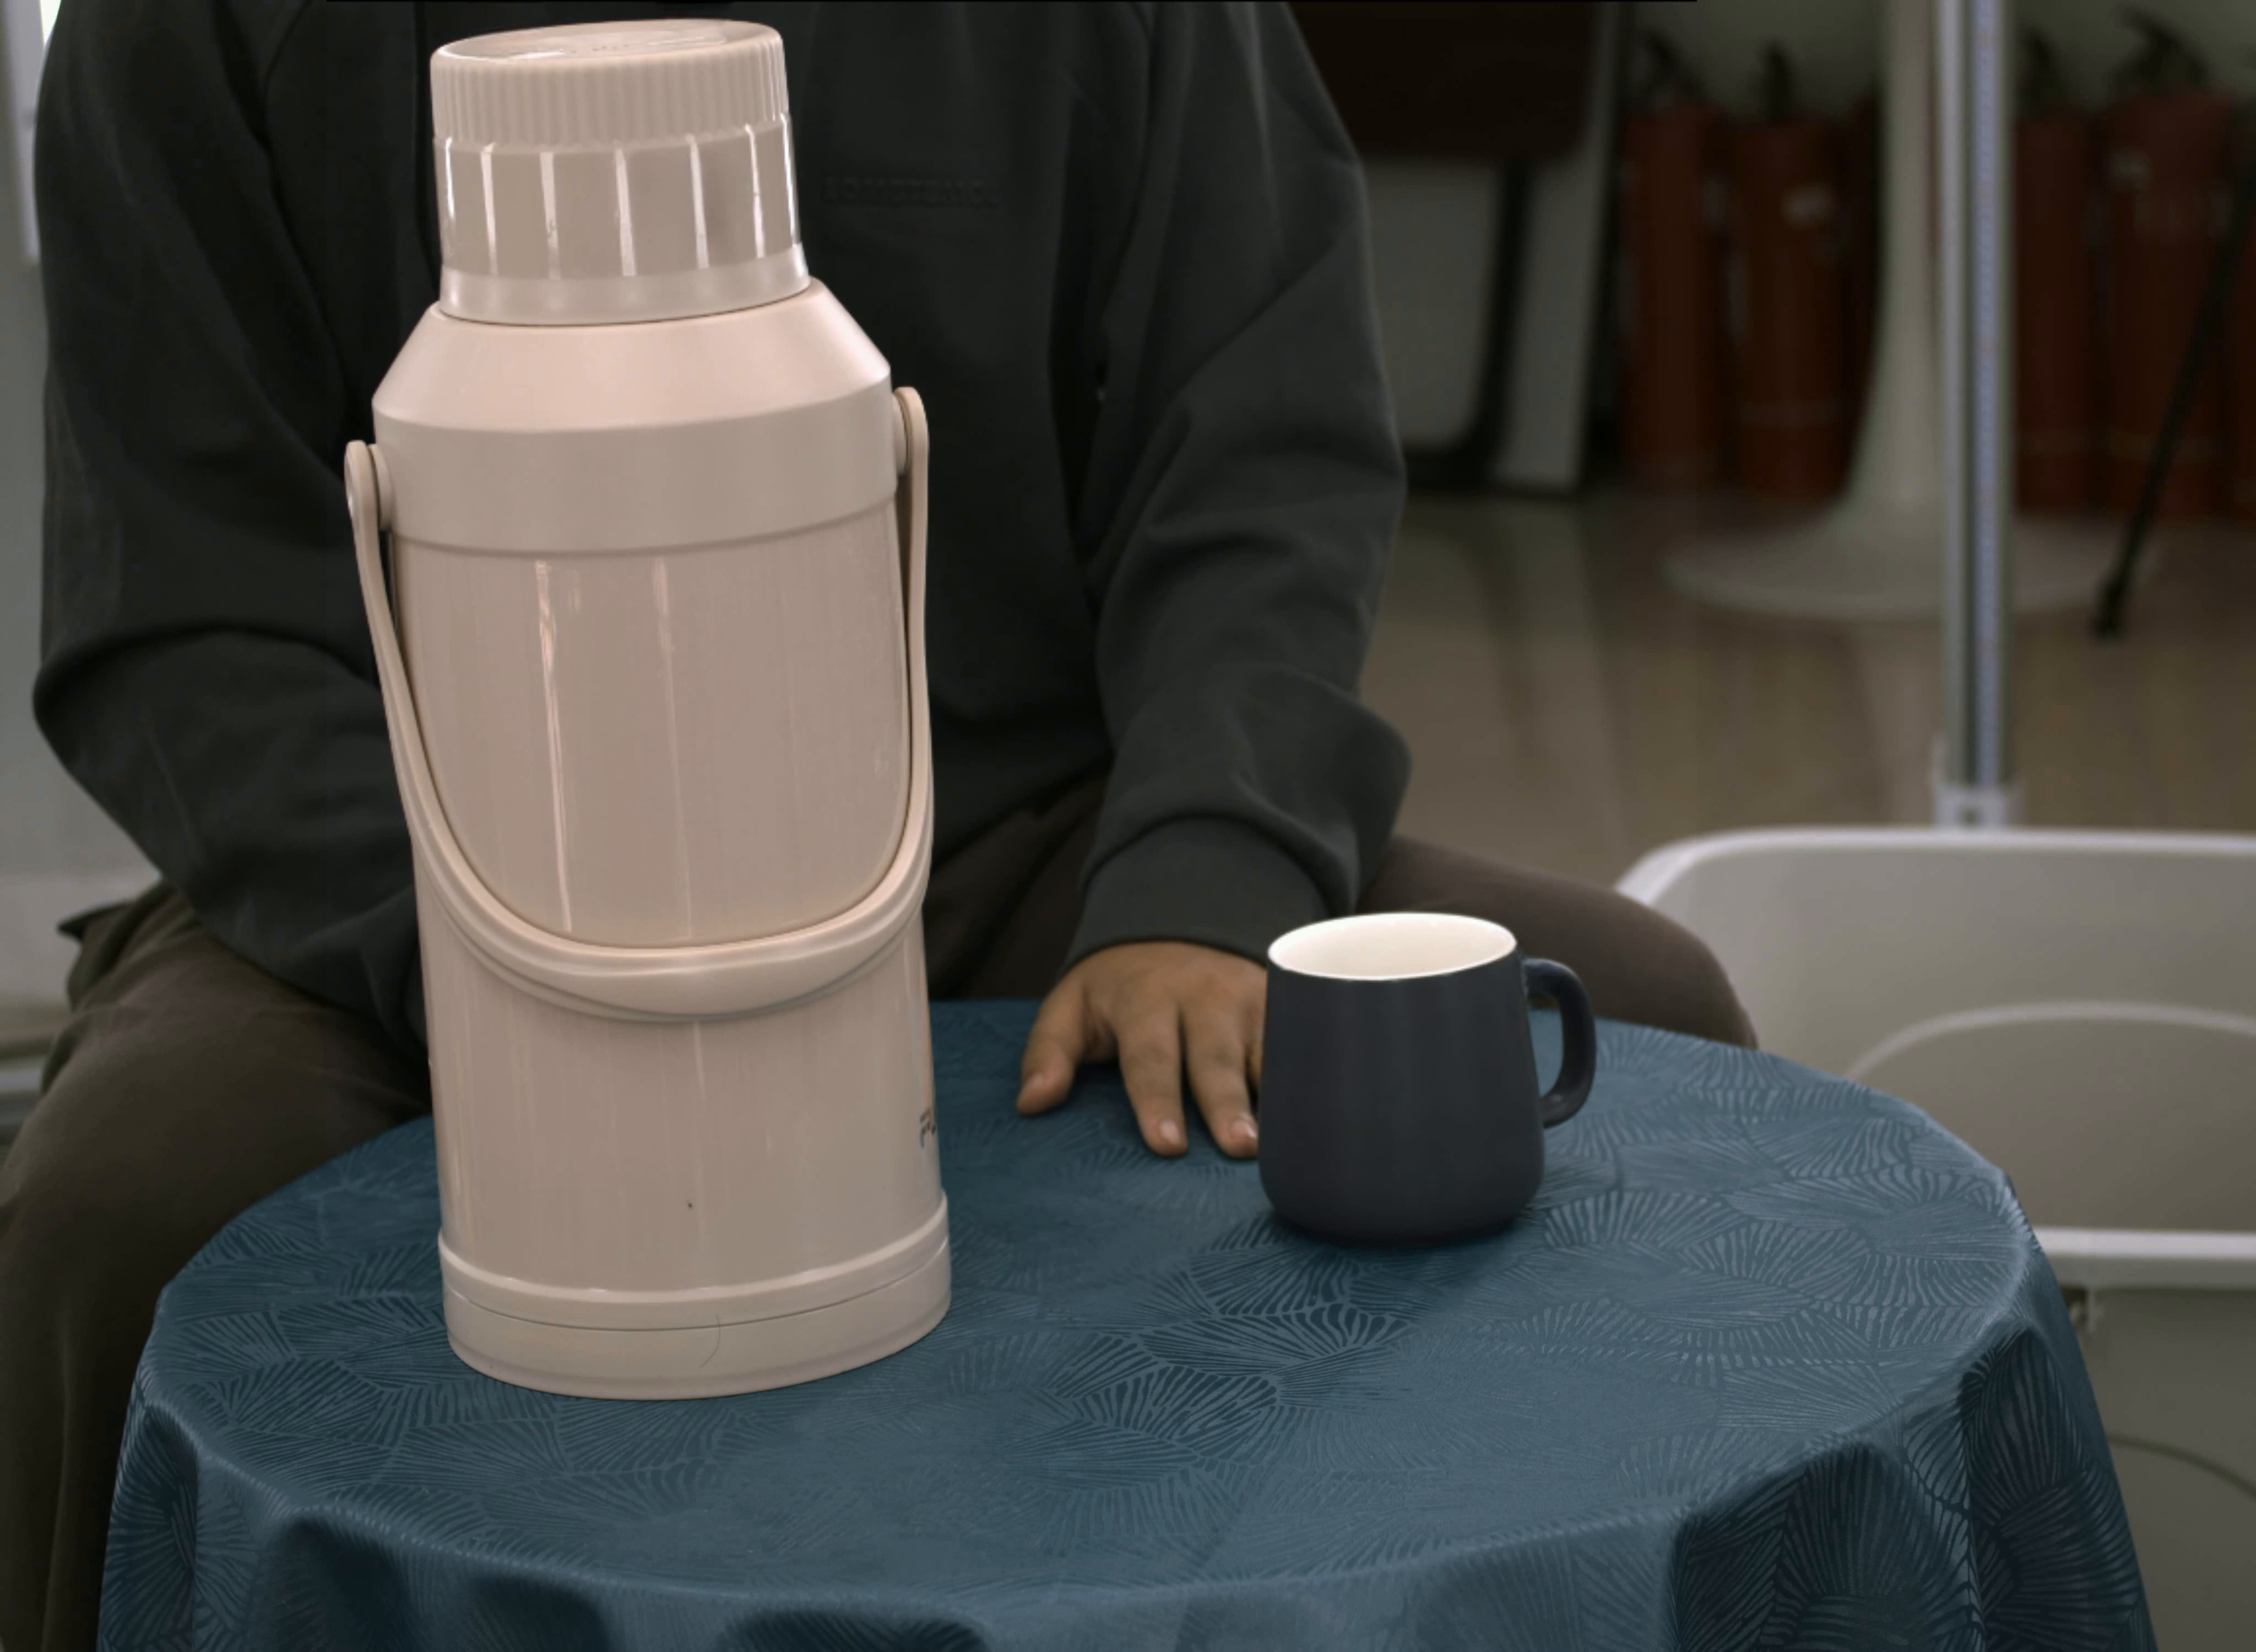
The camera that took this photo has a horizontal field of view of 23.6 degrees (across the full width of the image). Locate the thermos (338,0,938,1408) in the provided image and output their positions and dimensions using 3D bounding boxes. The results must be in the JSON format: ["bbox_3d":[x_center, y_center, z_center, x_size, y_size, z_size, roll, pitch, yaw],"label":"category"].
[{"bbox_3d":[-0.148,-0.043,1.647,0.172,0.411,0.209,-7,14,-15],"label":"thermos"}]

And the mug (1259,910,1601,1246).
[{"bbox_3d":[0.100,0.078,1.731,0.120,0.091,0.094,-11,15,-27],"label":"mug"}]
